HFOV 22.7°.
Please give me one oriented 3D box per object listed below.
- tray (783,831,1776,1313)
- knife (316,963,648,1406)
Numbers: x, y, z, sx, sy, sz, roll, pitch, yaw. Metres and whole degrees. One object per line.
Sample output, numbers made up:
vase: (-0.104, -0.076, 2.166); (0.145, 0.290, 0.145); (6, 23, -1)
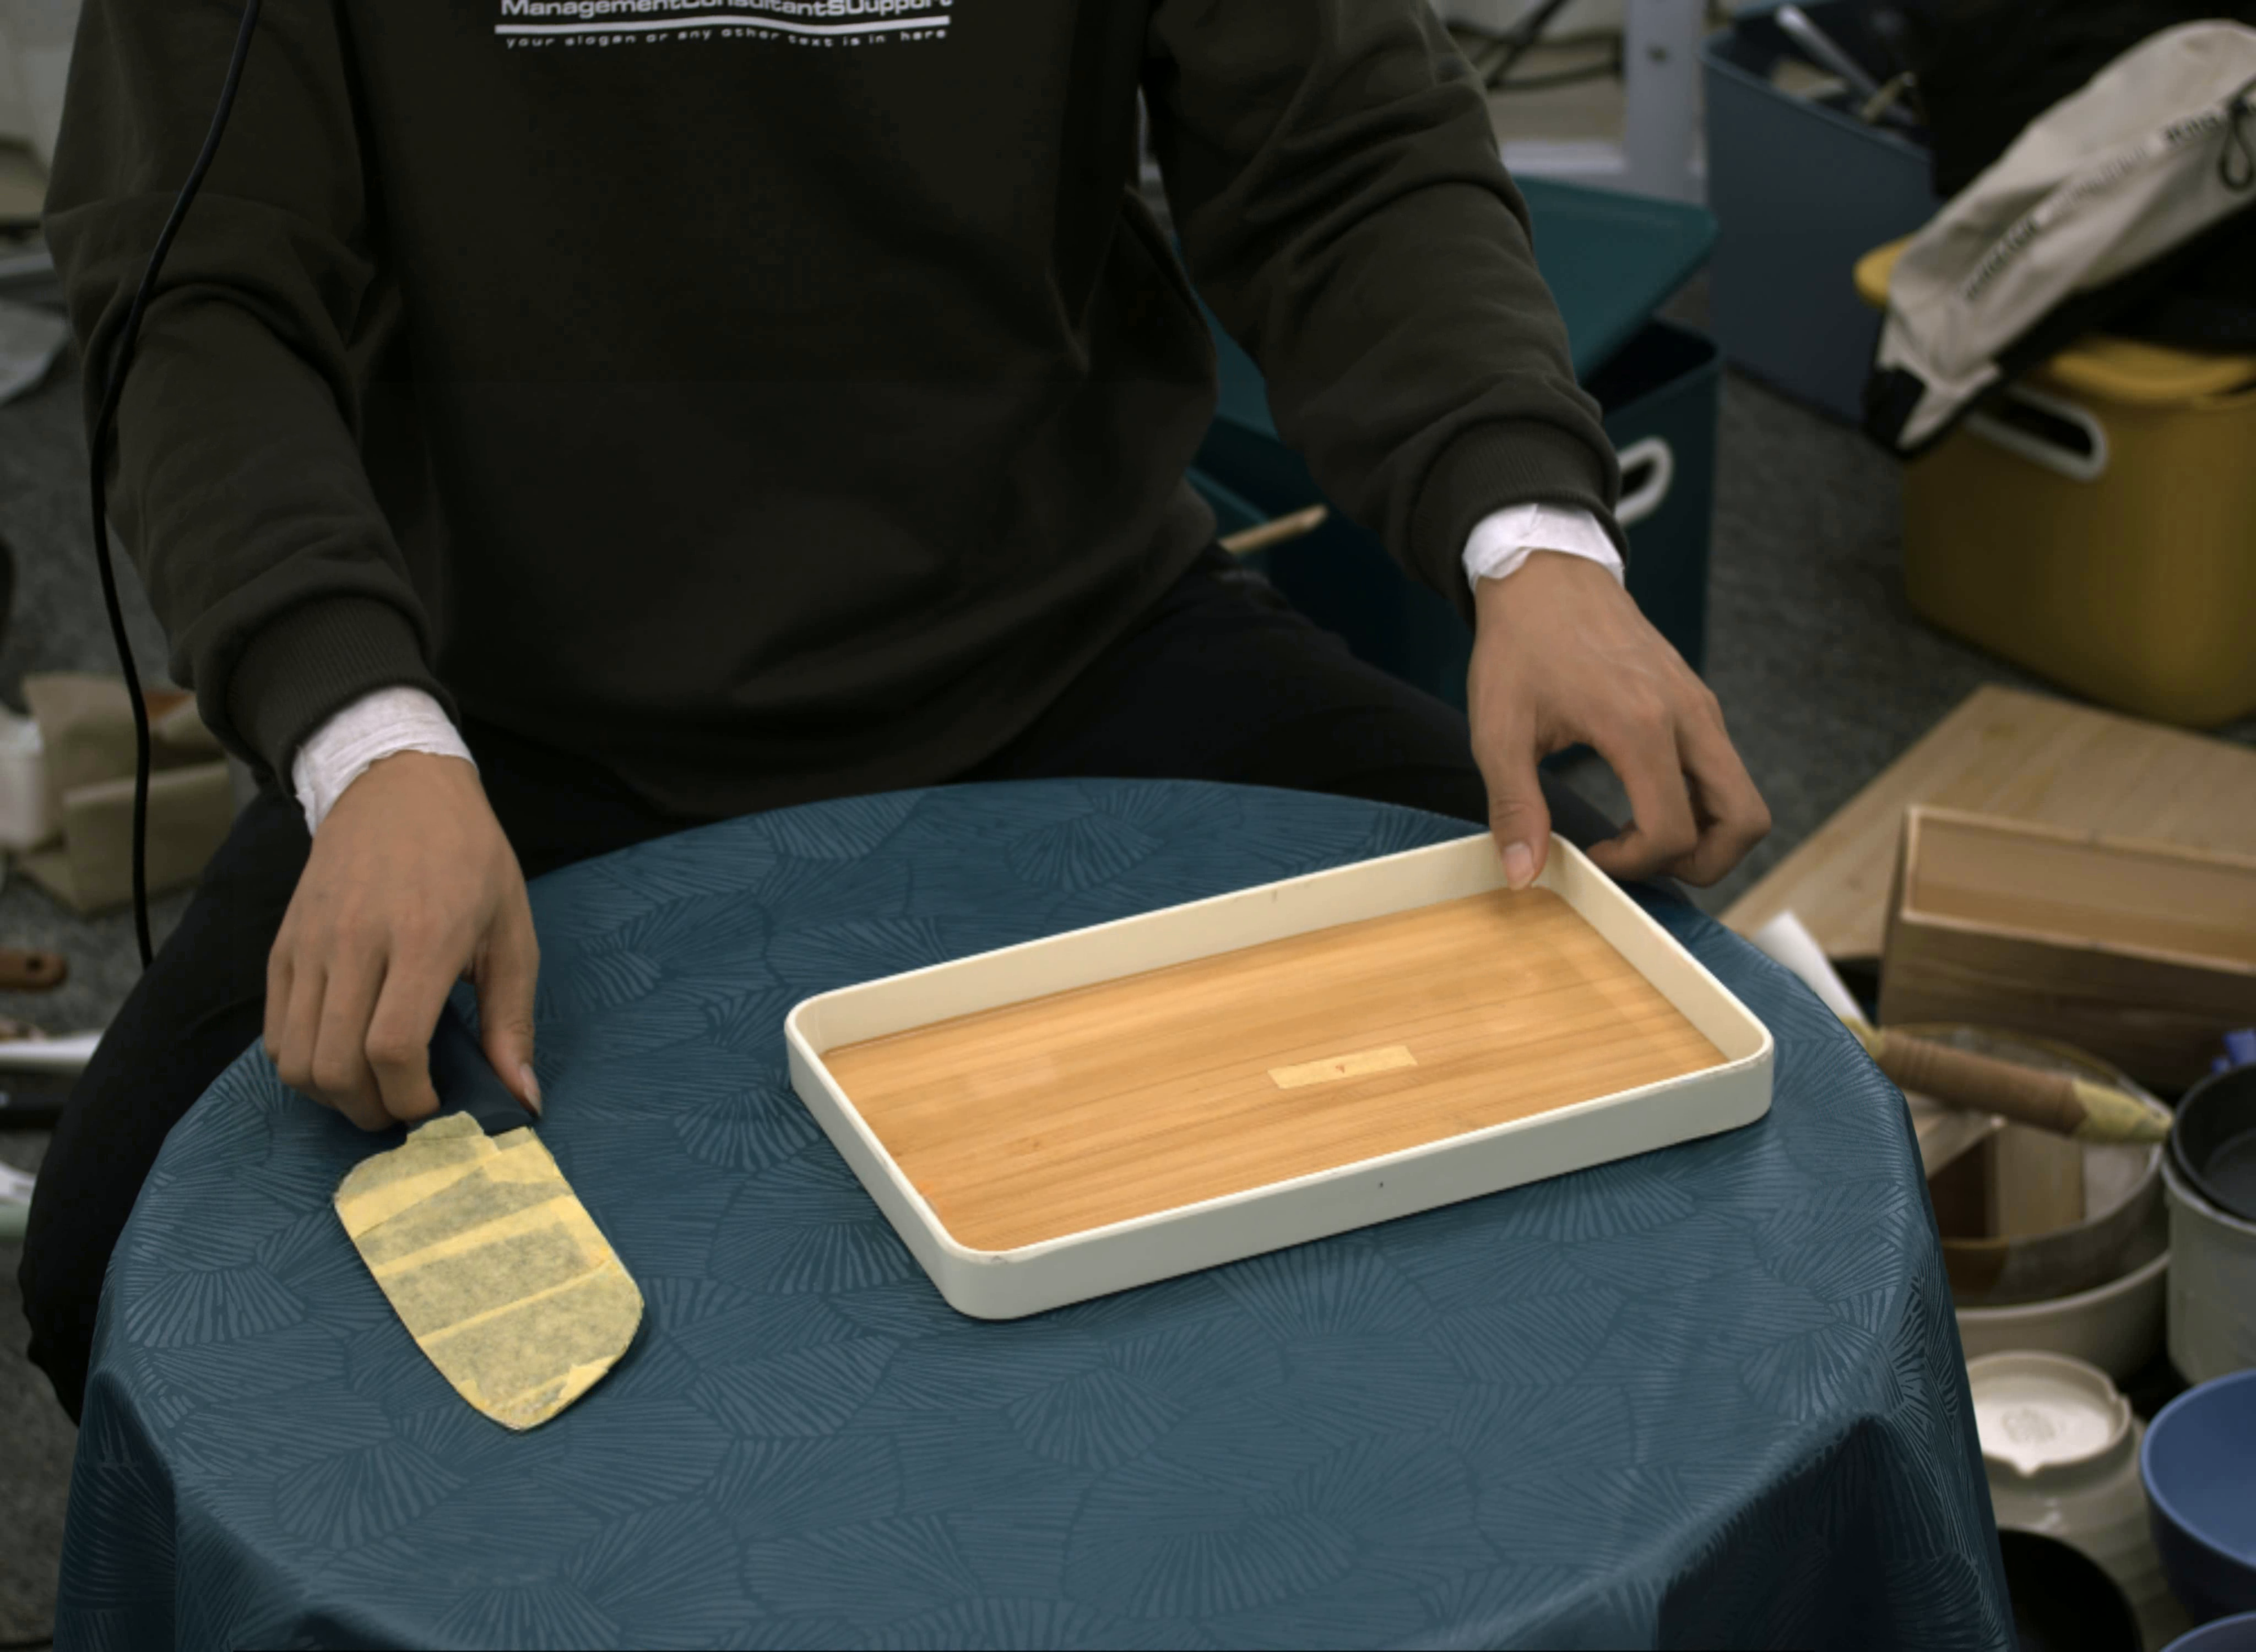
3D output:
tray: (0.050, 0.080, 1.909); (0.301, 0.027, 0.193); (-13, 28, -19)
knife: (-0.228, 0.119, 1.872); (0.081, 0.027, 0.292); (-14, 30, -17)
